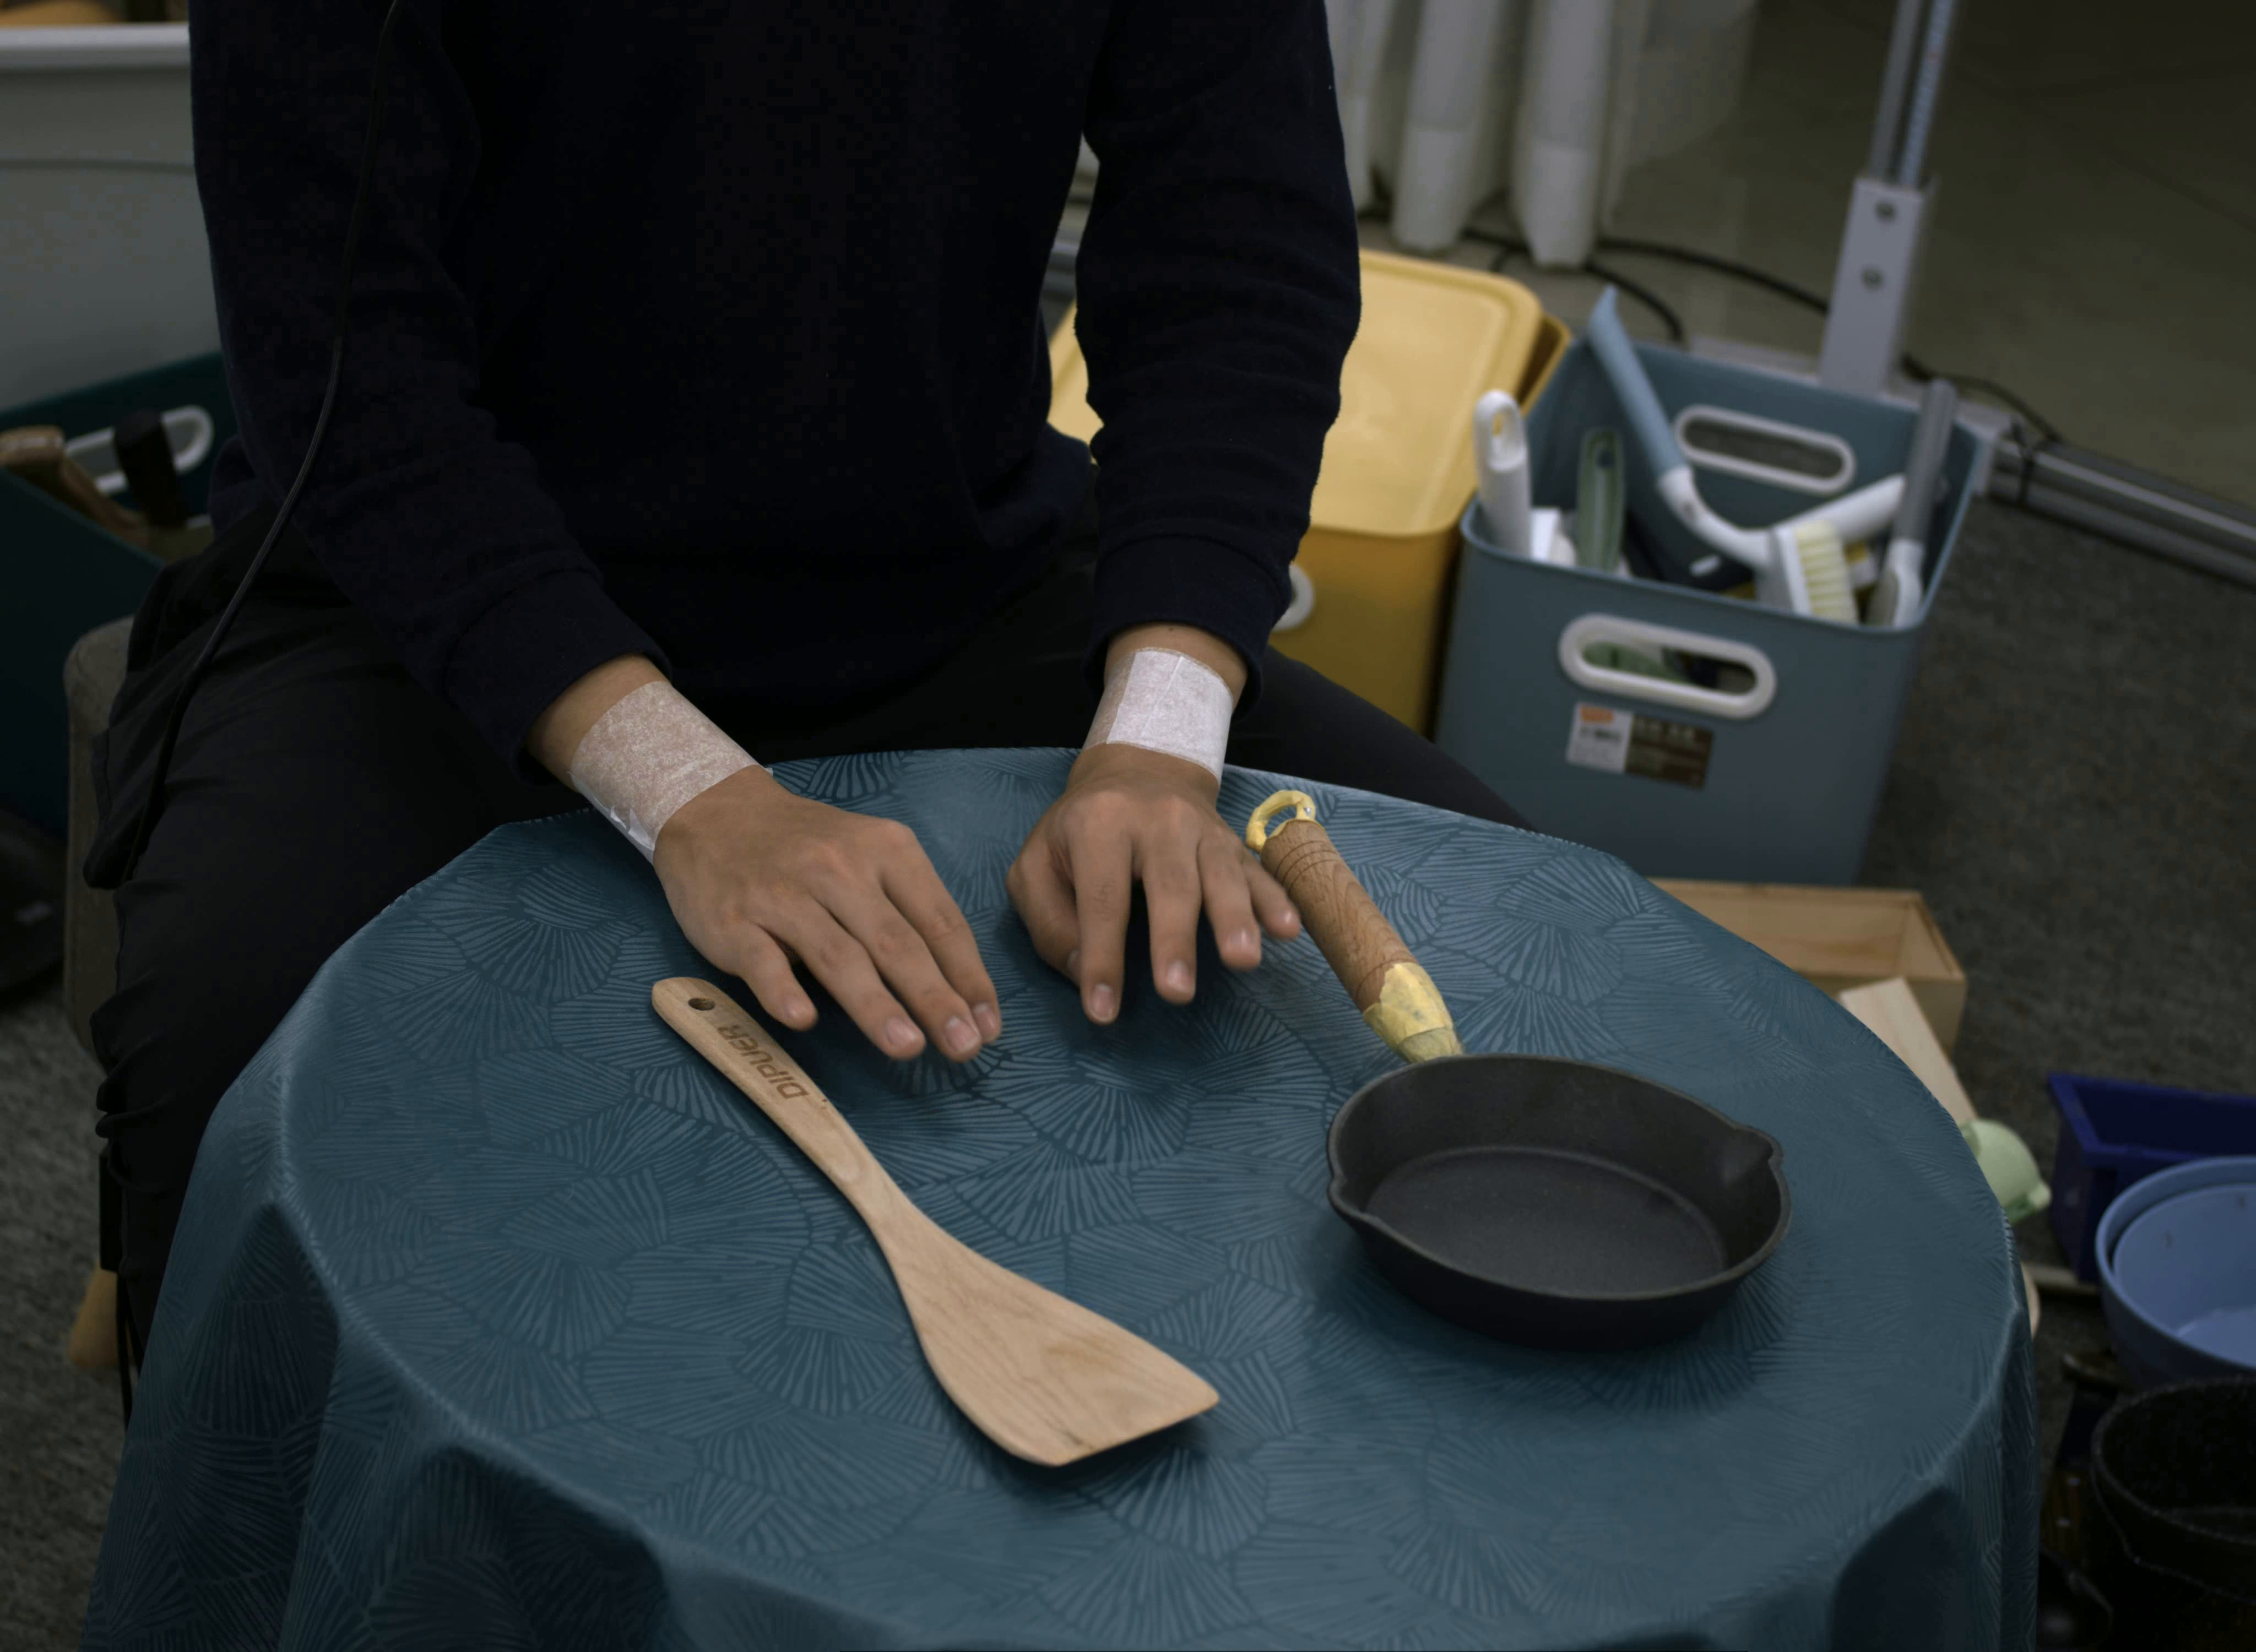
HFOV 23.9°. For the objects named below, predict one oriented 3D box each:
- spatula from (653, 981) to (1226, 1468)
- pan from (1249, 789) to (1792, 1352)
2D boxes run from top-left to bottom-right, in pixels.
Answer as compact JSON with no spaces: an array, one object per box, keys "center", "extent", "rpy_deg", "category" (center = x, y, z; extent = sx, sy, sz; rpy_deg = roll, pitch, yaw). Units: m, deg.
[{"center":[-0.077,0.125,1.765],"extent":[0.079,0.016,0.330],"rpy_deg":[-9,31,-30],"category":"spatula"},{"center":[0.113,0.082,1.853],"extent":[0.168,0.049,0.327],"rpy_deg":[-5,31,-21],"category":"pan"}]
